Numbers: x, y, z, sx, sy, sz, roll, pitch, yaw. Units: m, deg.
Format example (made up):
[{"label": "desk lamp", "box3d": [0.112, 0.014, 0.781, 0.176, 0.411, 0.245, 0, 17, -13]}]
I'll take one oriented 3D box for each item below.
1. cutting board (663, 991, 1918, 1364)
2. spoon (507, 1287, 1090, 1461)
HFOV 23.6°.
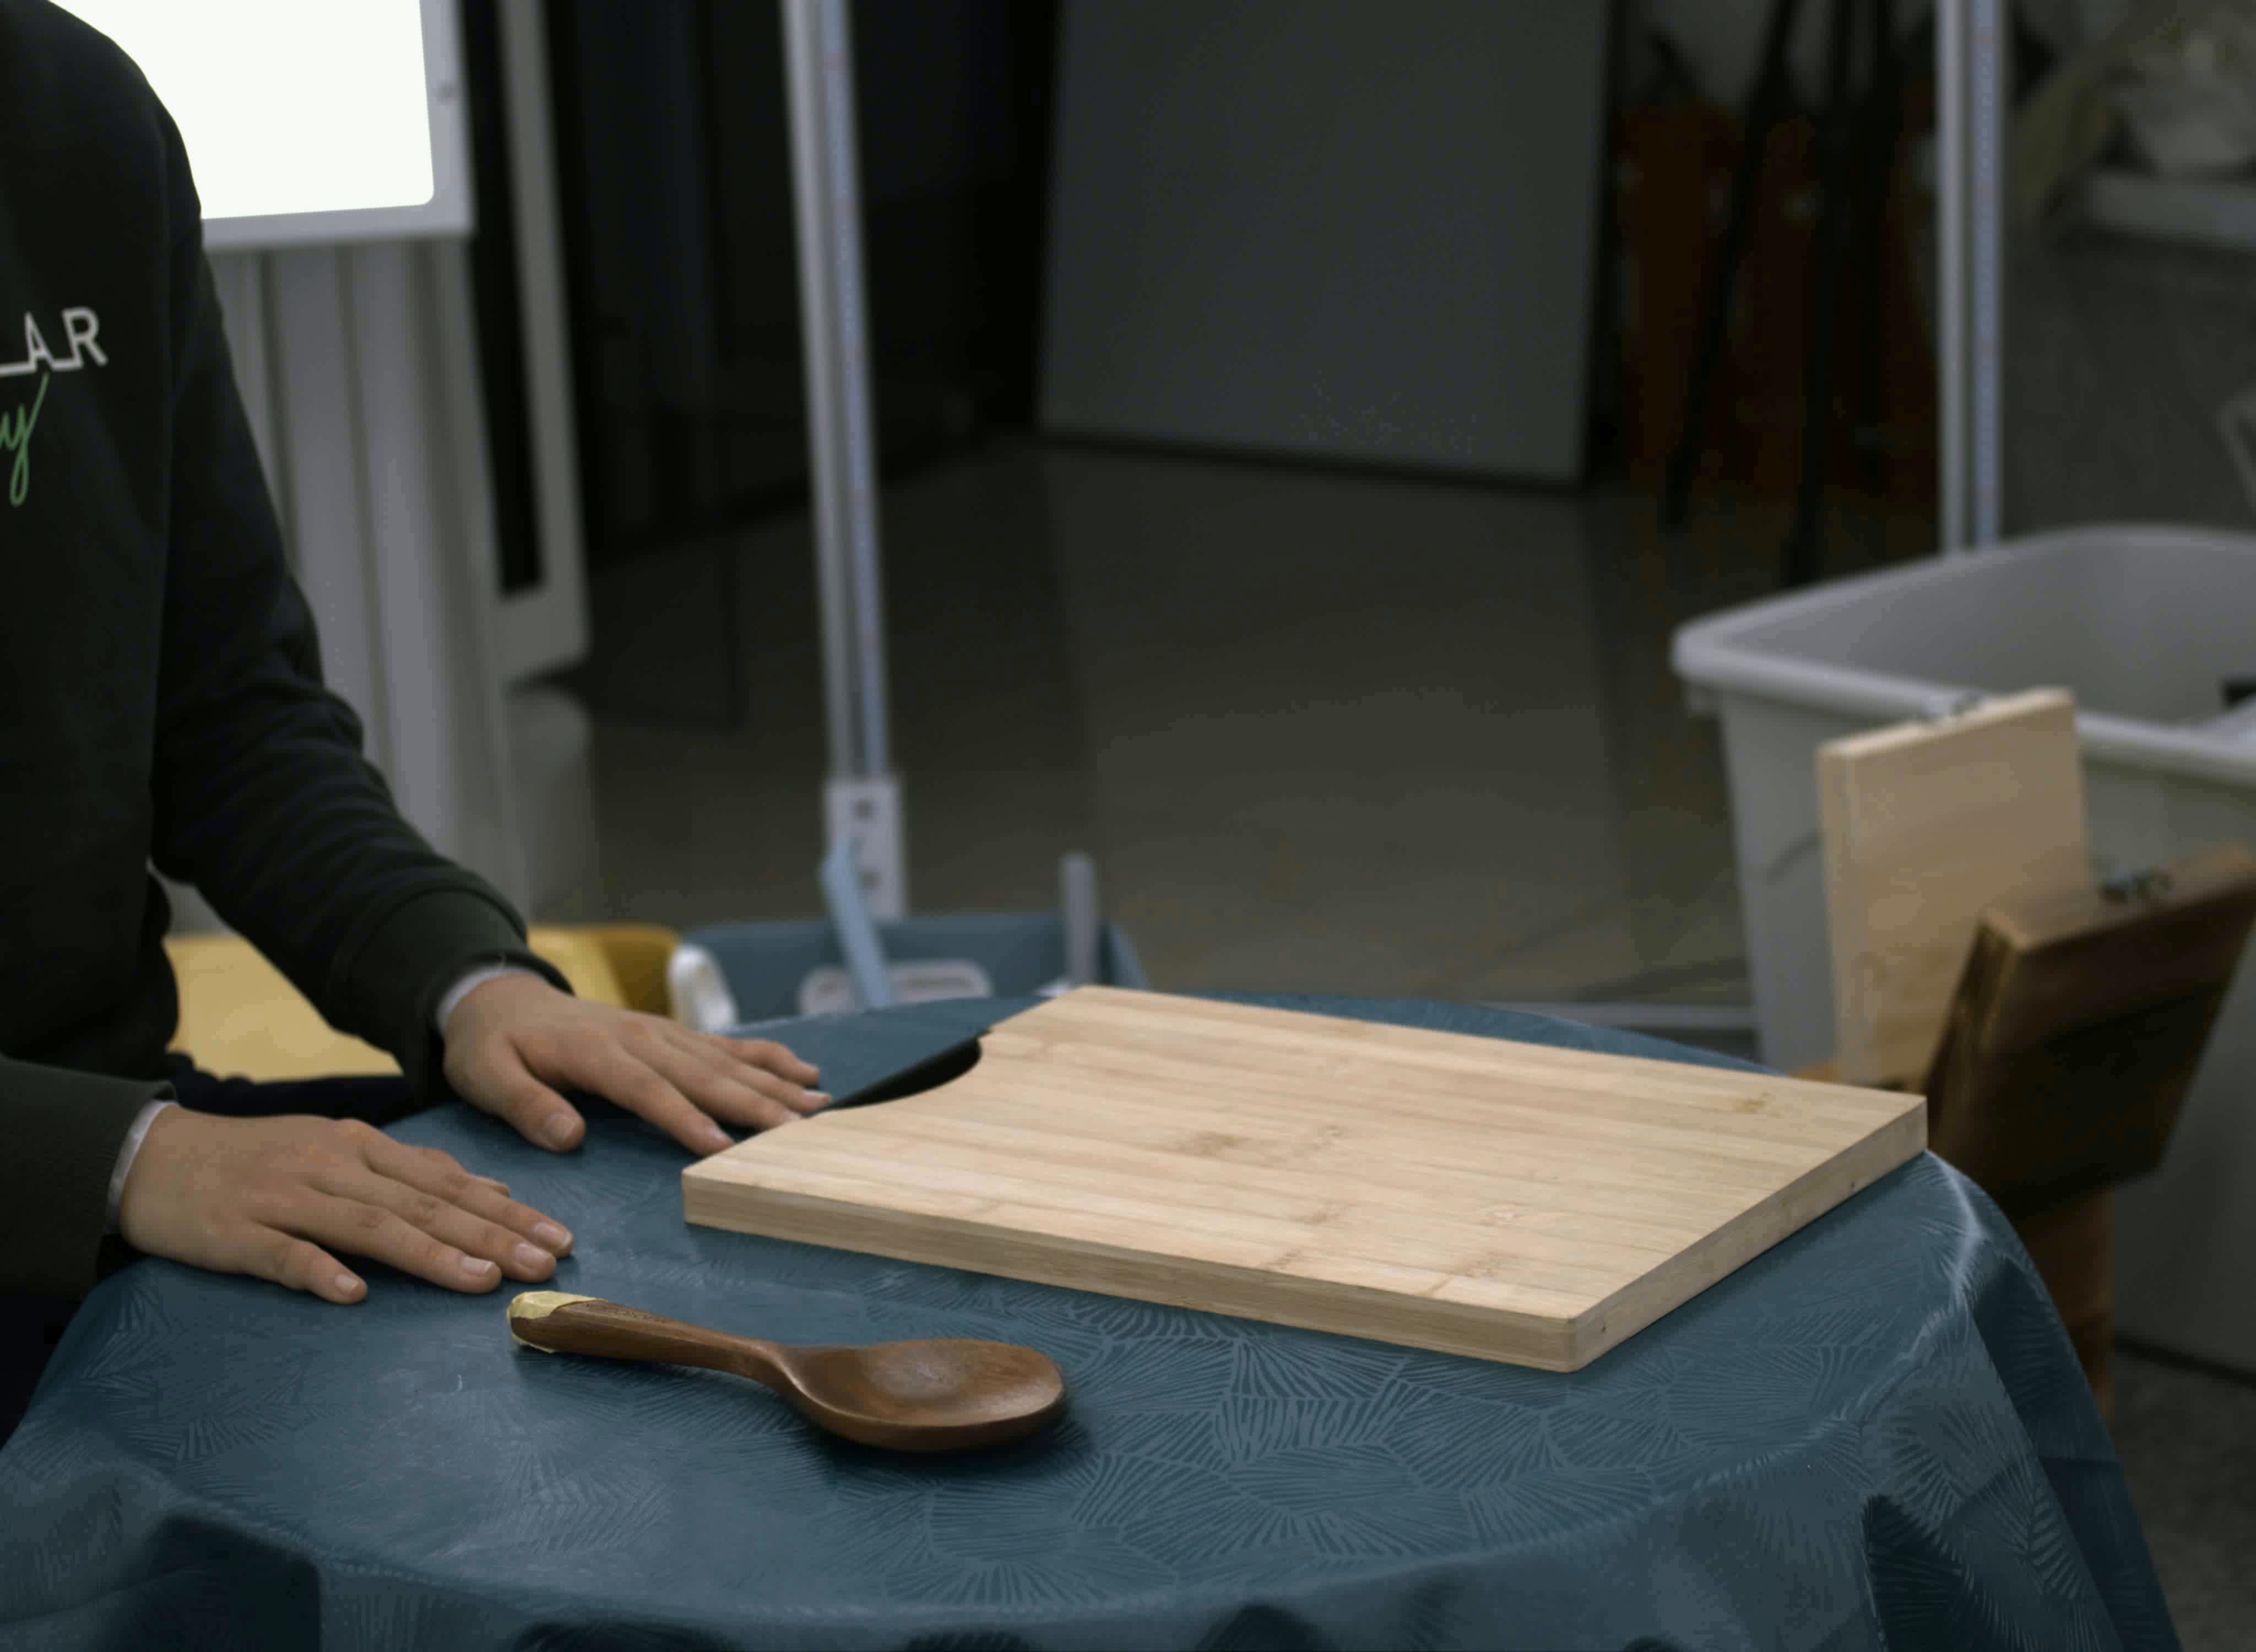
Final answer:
[{"label": "cutting board", "box3d": [0.053, 0.110, 1.767, 0.350, 0.024, 0.246, 5, 16, 34]}, {"label": "spoon", "box3d": [-0.102, 0.161, 1.602, 0.217, 0.017, 0.074, 8, 20, 38]}]
